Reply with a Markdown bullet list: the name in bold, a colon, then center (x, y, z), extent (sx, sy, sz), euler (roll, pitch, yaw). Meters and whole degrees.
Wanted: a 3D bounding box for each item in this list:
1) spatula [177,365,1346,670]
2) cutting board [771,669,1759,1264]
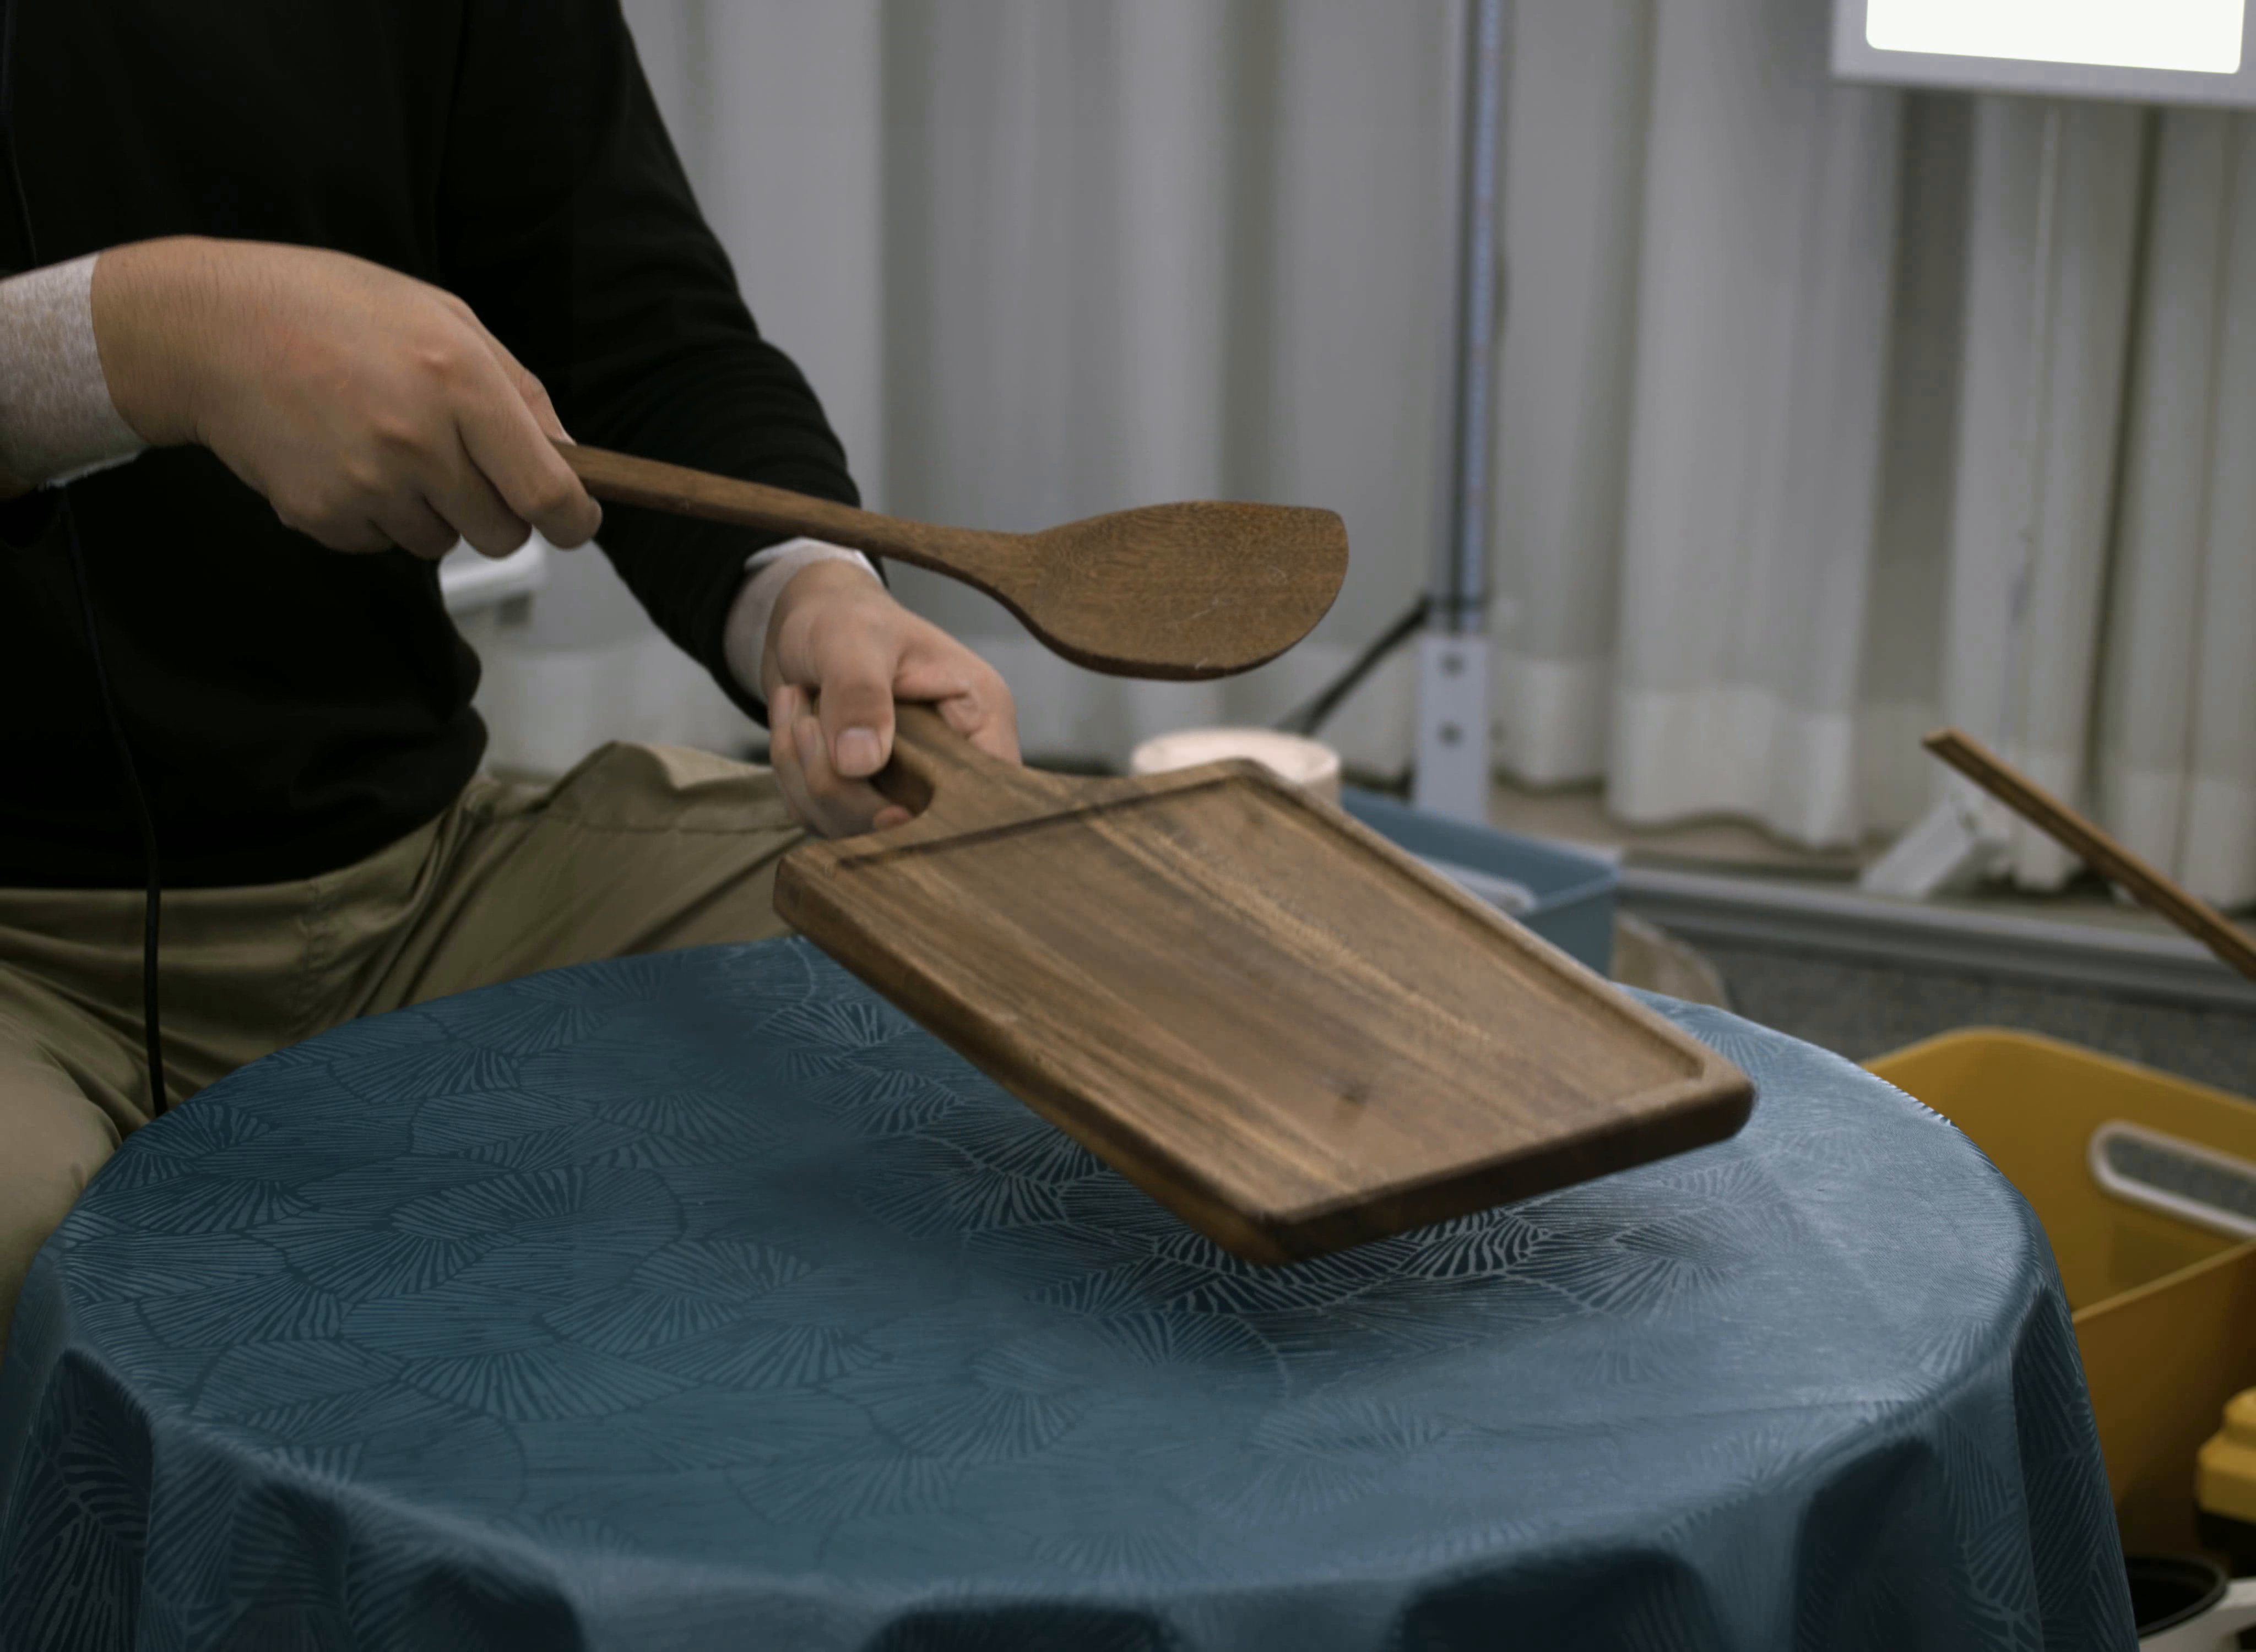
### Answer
- **spatula**: center (-0.121, -0.103, 1.620), extent (0.382, 0.016, 0.096), euler (12, 38, 15)
- **cutting board**: center (0.010, 0.028, 1.634), extent (0.202, 0.023, 0.347), euler (-13, 32, -37)
